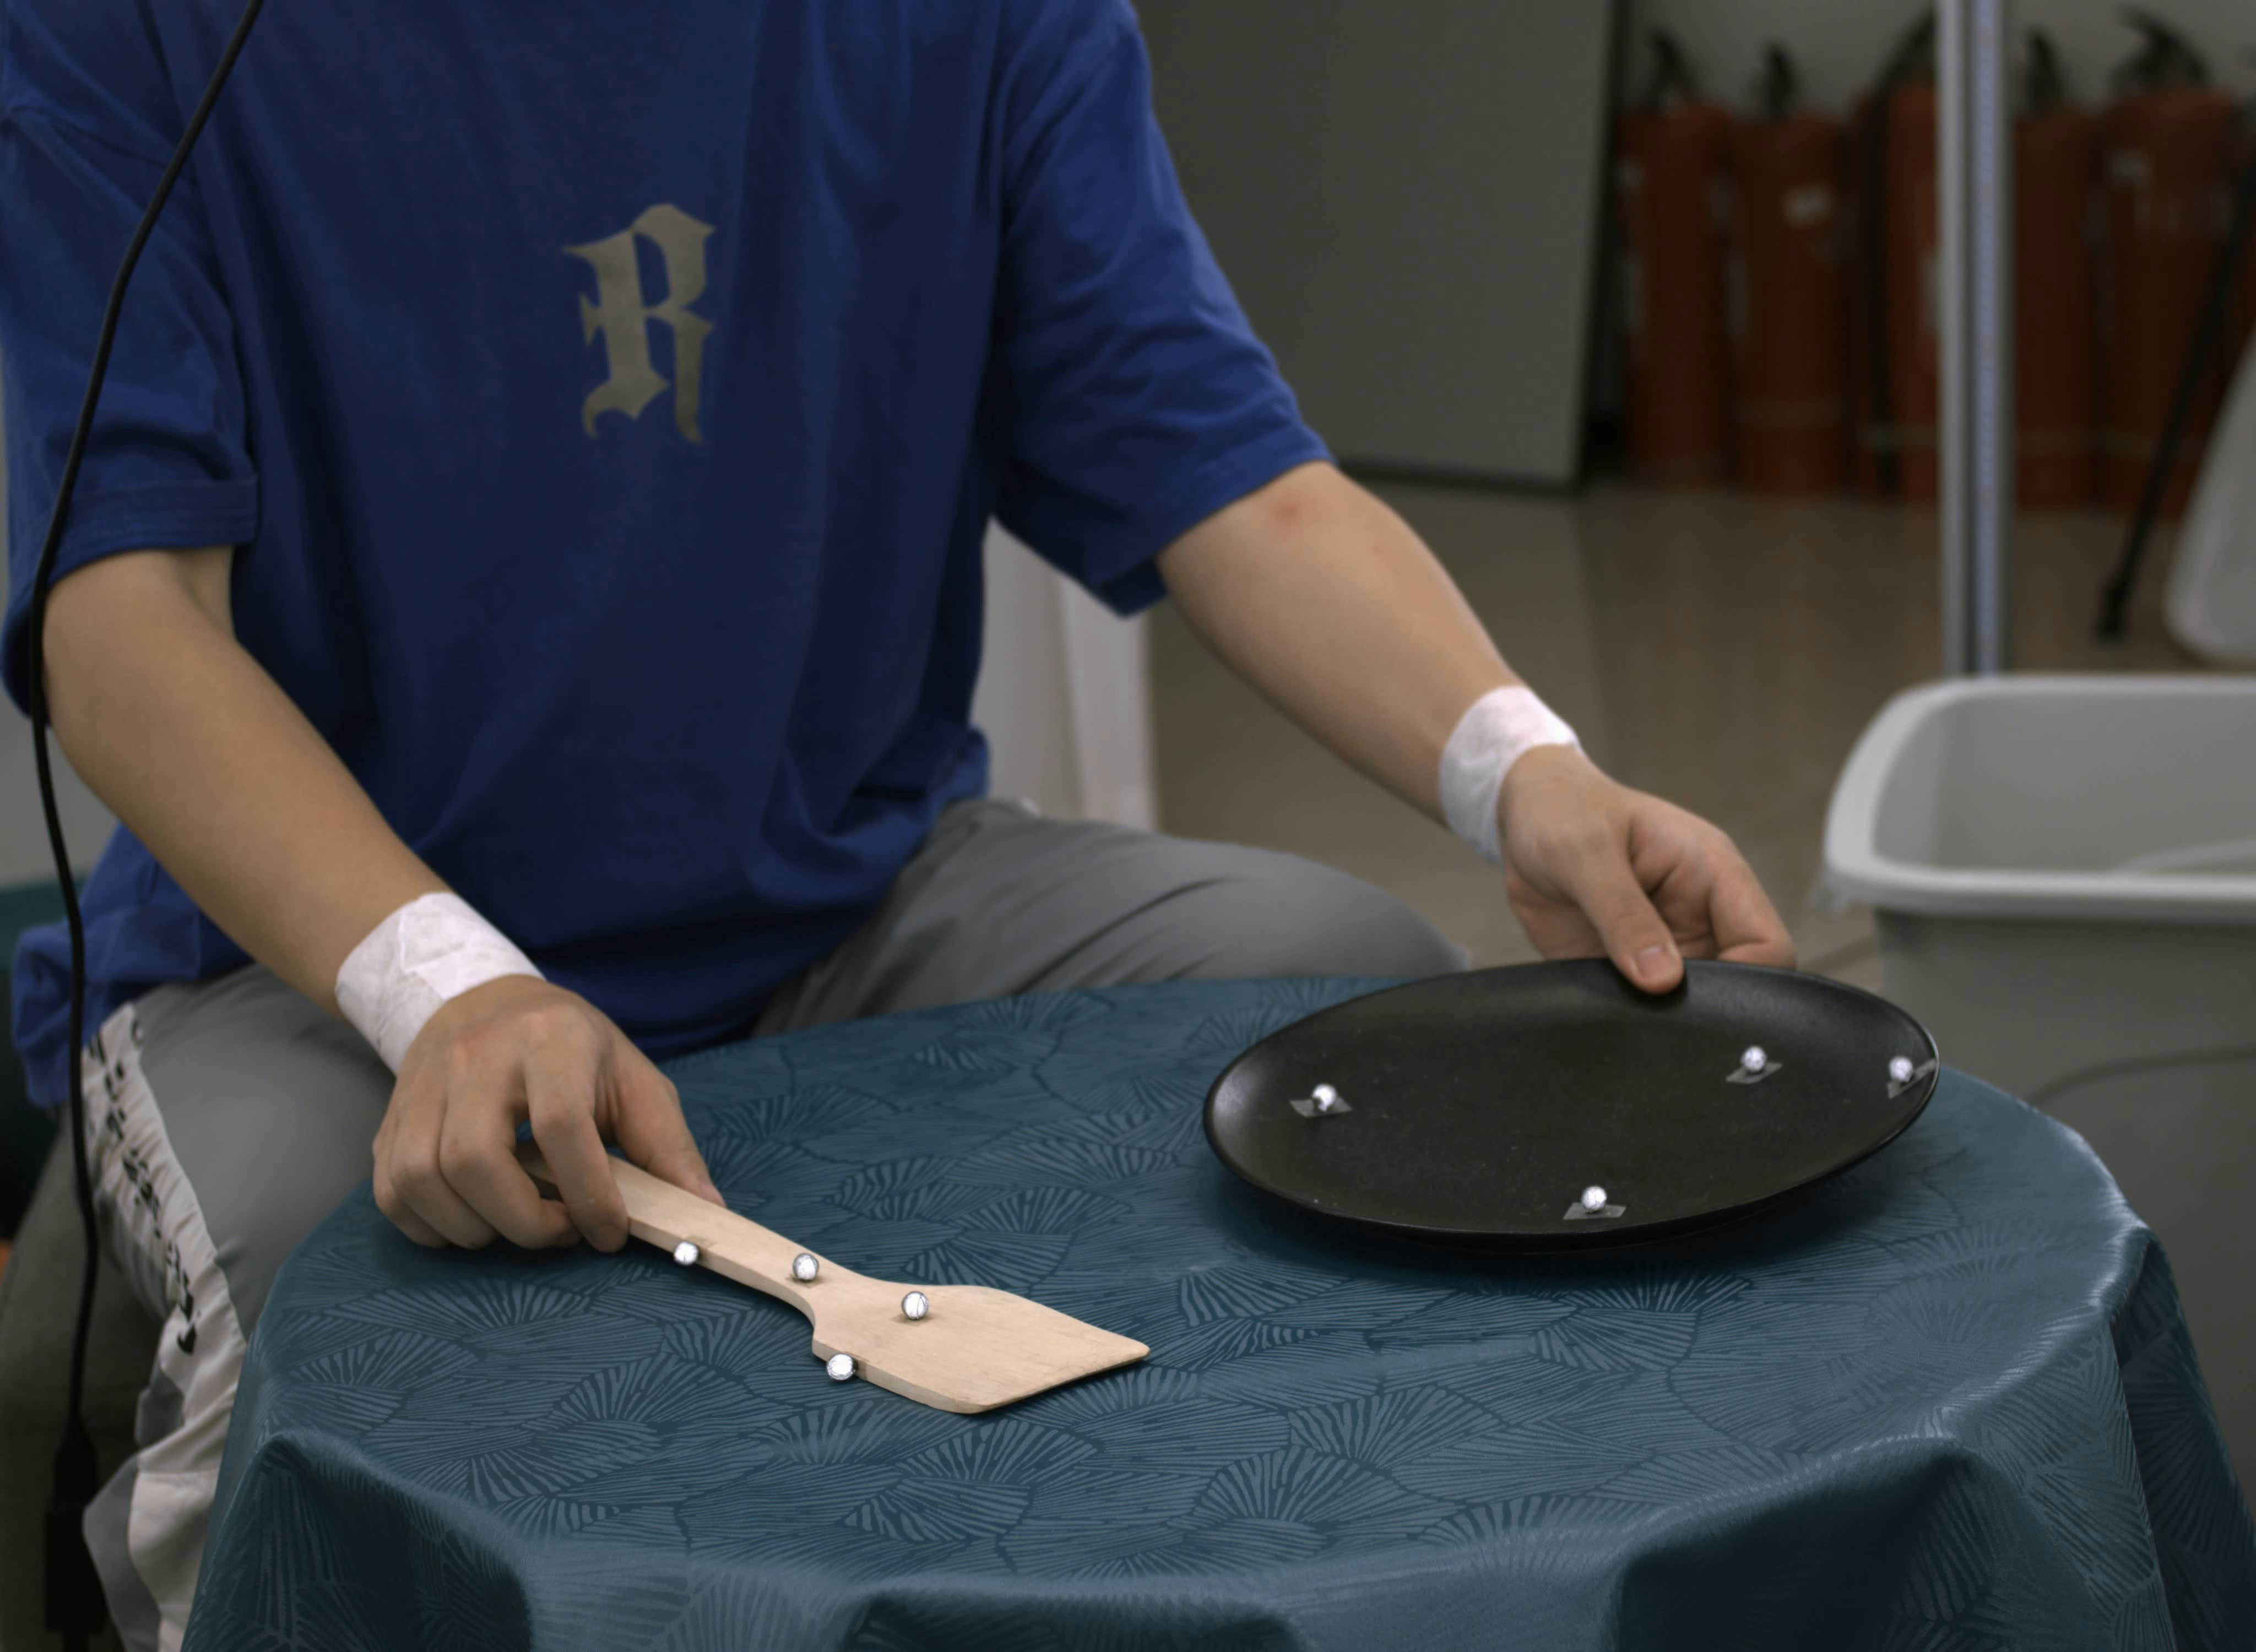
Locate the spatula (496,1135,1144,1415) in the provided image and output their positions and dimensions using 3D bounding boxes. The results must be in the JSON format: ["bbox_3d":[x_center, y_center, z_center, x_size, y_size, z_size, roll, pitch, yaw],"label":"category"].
[{"bbox_3d":[-0.111,0.138,1.699,0.071,0.011,0.296,-15,21,-37],"label":"spatula"}]

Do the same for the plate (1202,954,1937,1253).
[{"bbox_3d":[0.144,0.094,1.760,0.241,0.023,0.245,-7,18,1],"label":"plate"}]
